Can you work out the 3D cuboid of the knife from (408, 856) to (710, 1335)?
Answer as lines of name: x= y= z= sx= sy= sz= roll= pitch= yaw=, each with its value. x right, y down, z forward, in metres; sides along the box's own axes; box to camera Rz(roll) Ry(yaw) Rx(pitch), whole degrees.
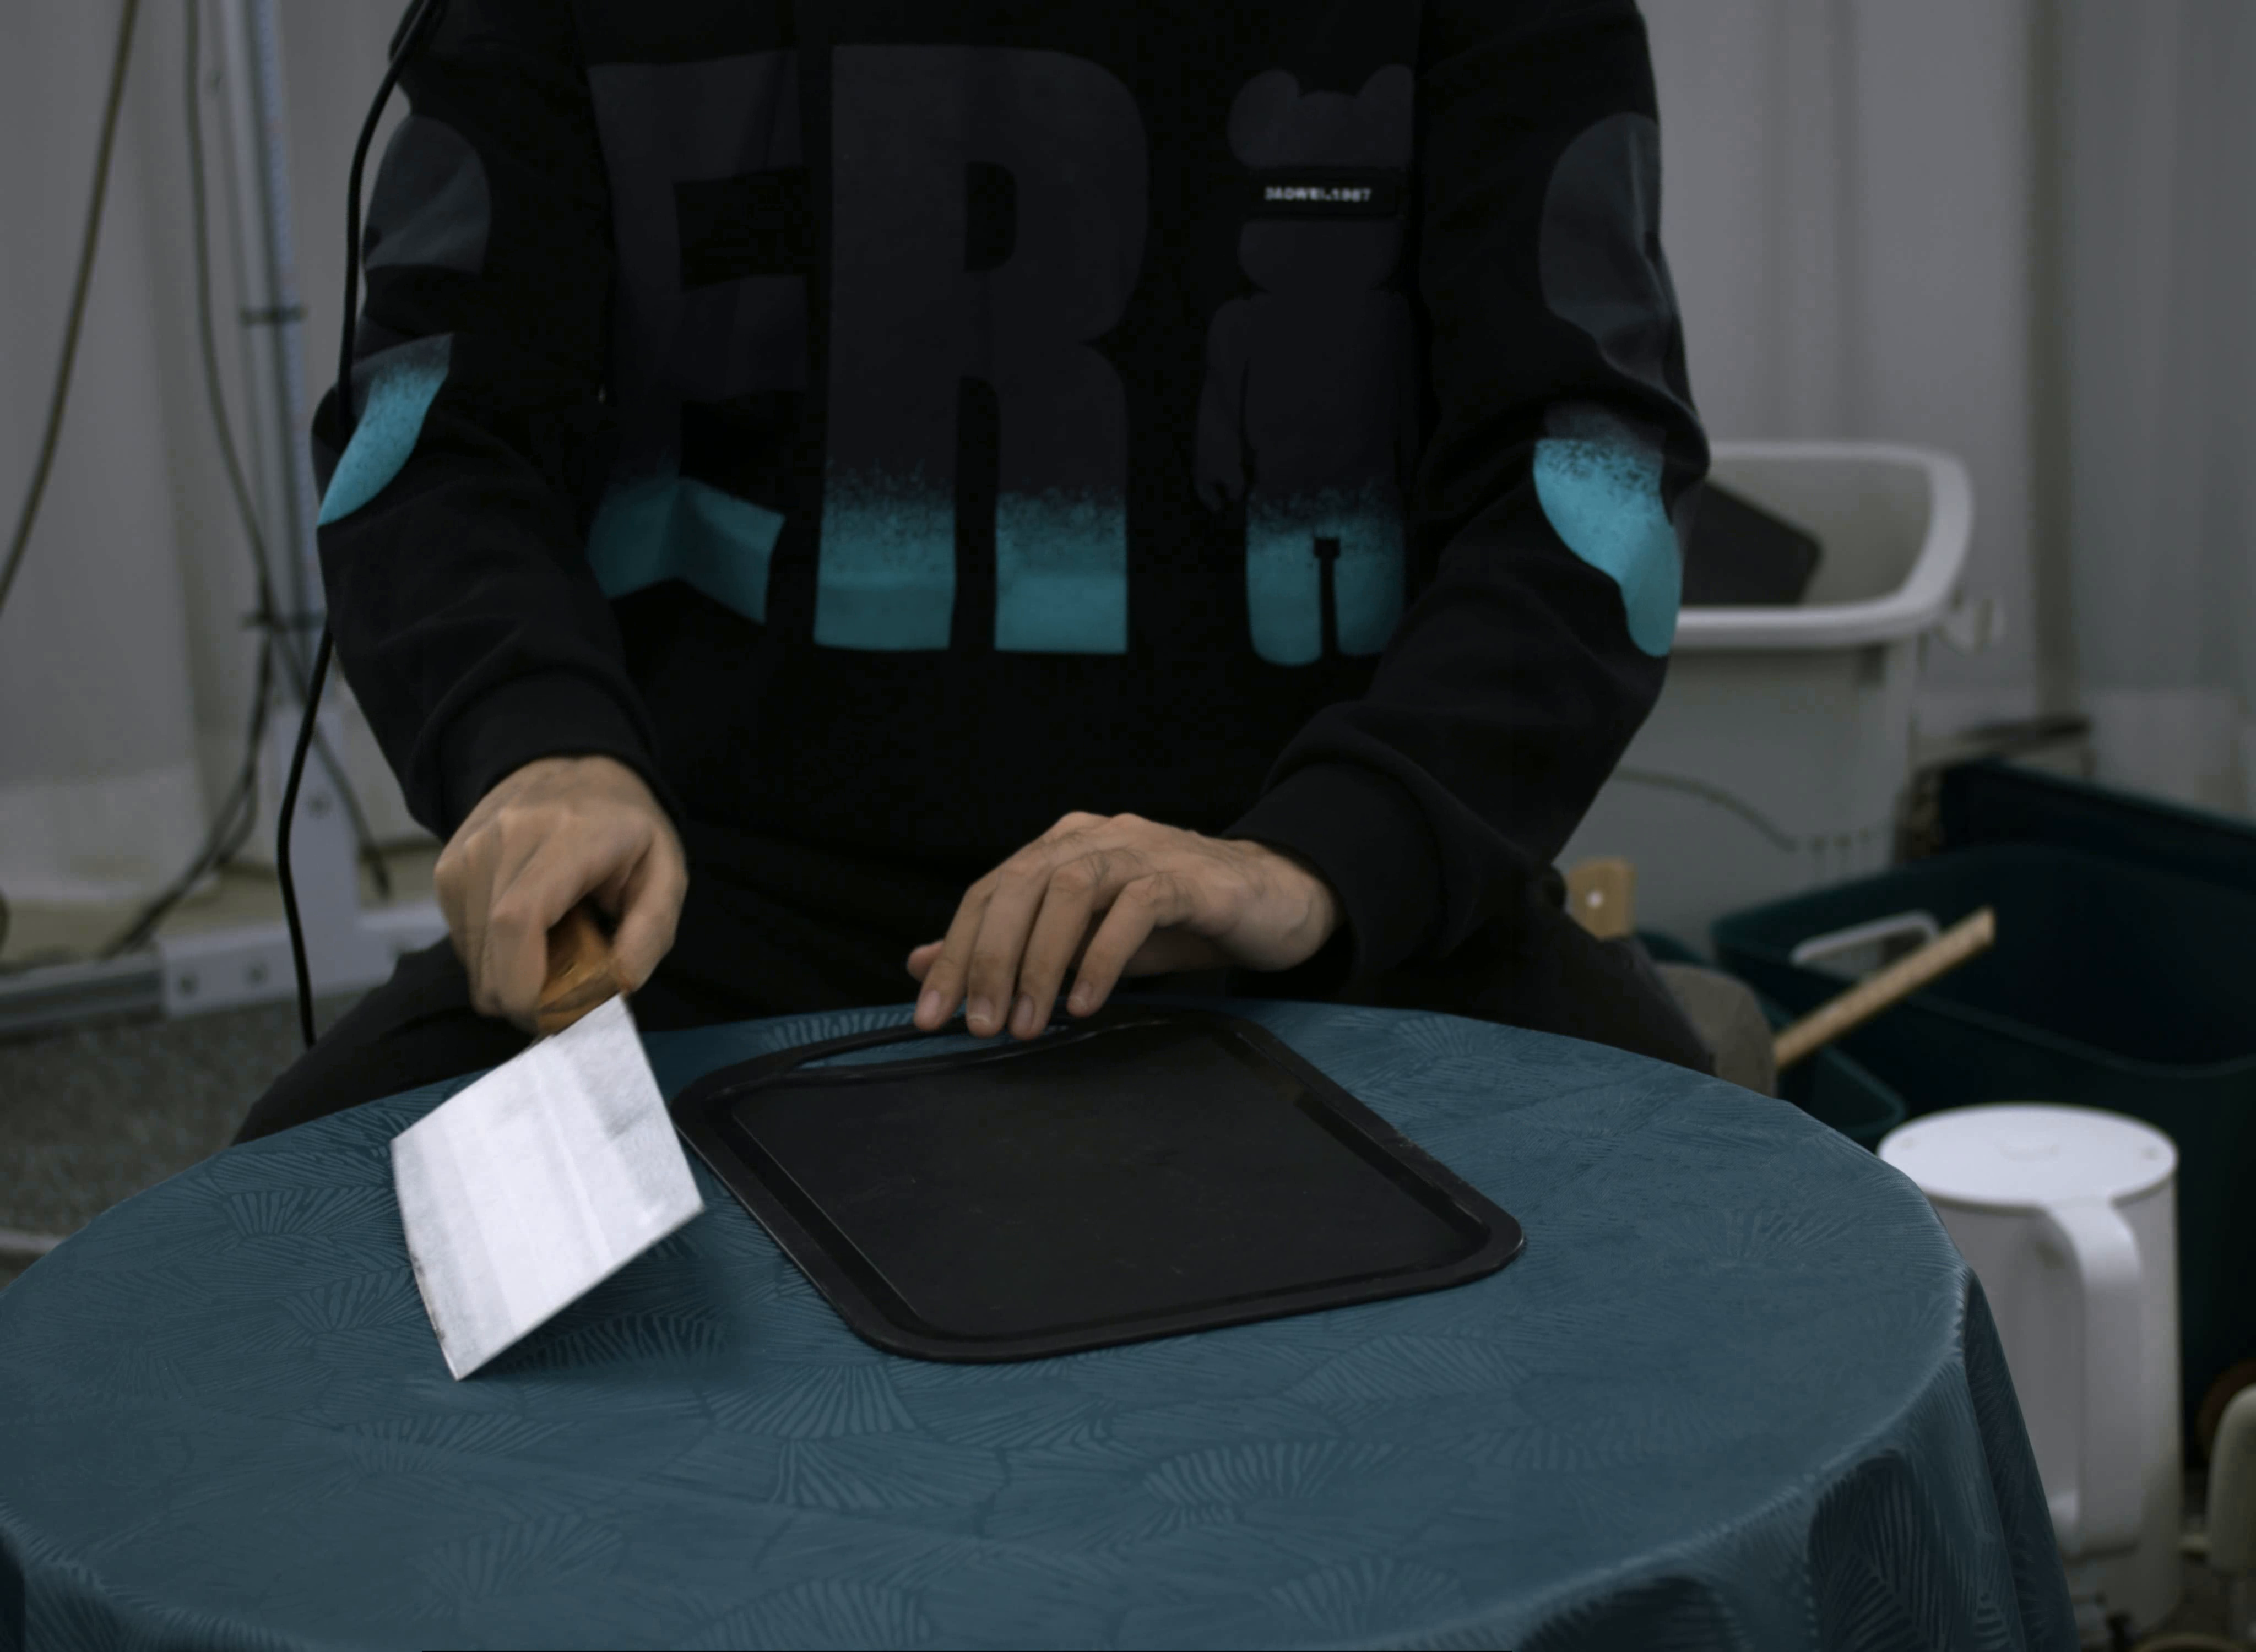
knife: x=-0.187 y=0.085 z=1.724 sx=0.093 sy=0.021 sz=0.309 roll=-37 pitch=22 yaw=1

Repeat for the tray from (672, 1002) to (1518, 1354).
tray: x=-0.021 y=0.105 z=1.741 sx=0.210 sy=0.010 sz=0.328 roll=-8 pitch=16 yaw=-17
